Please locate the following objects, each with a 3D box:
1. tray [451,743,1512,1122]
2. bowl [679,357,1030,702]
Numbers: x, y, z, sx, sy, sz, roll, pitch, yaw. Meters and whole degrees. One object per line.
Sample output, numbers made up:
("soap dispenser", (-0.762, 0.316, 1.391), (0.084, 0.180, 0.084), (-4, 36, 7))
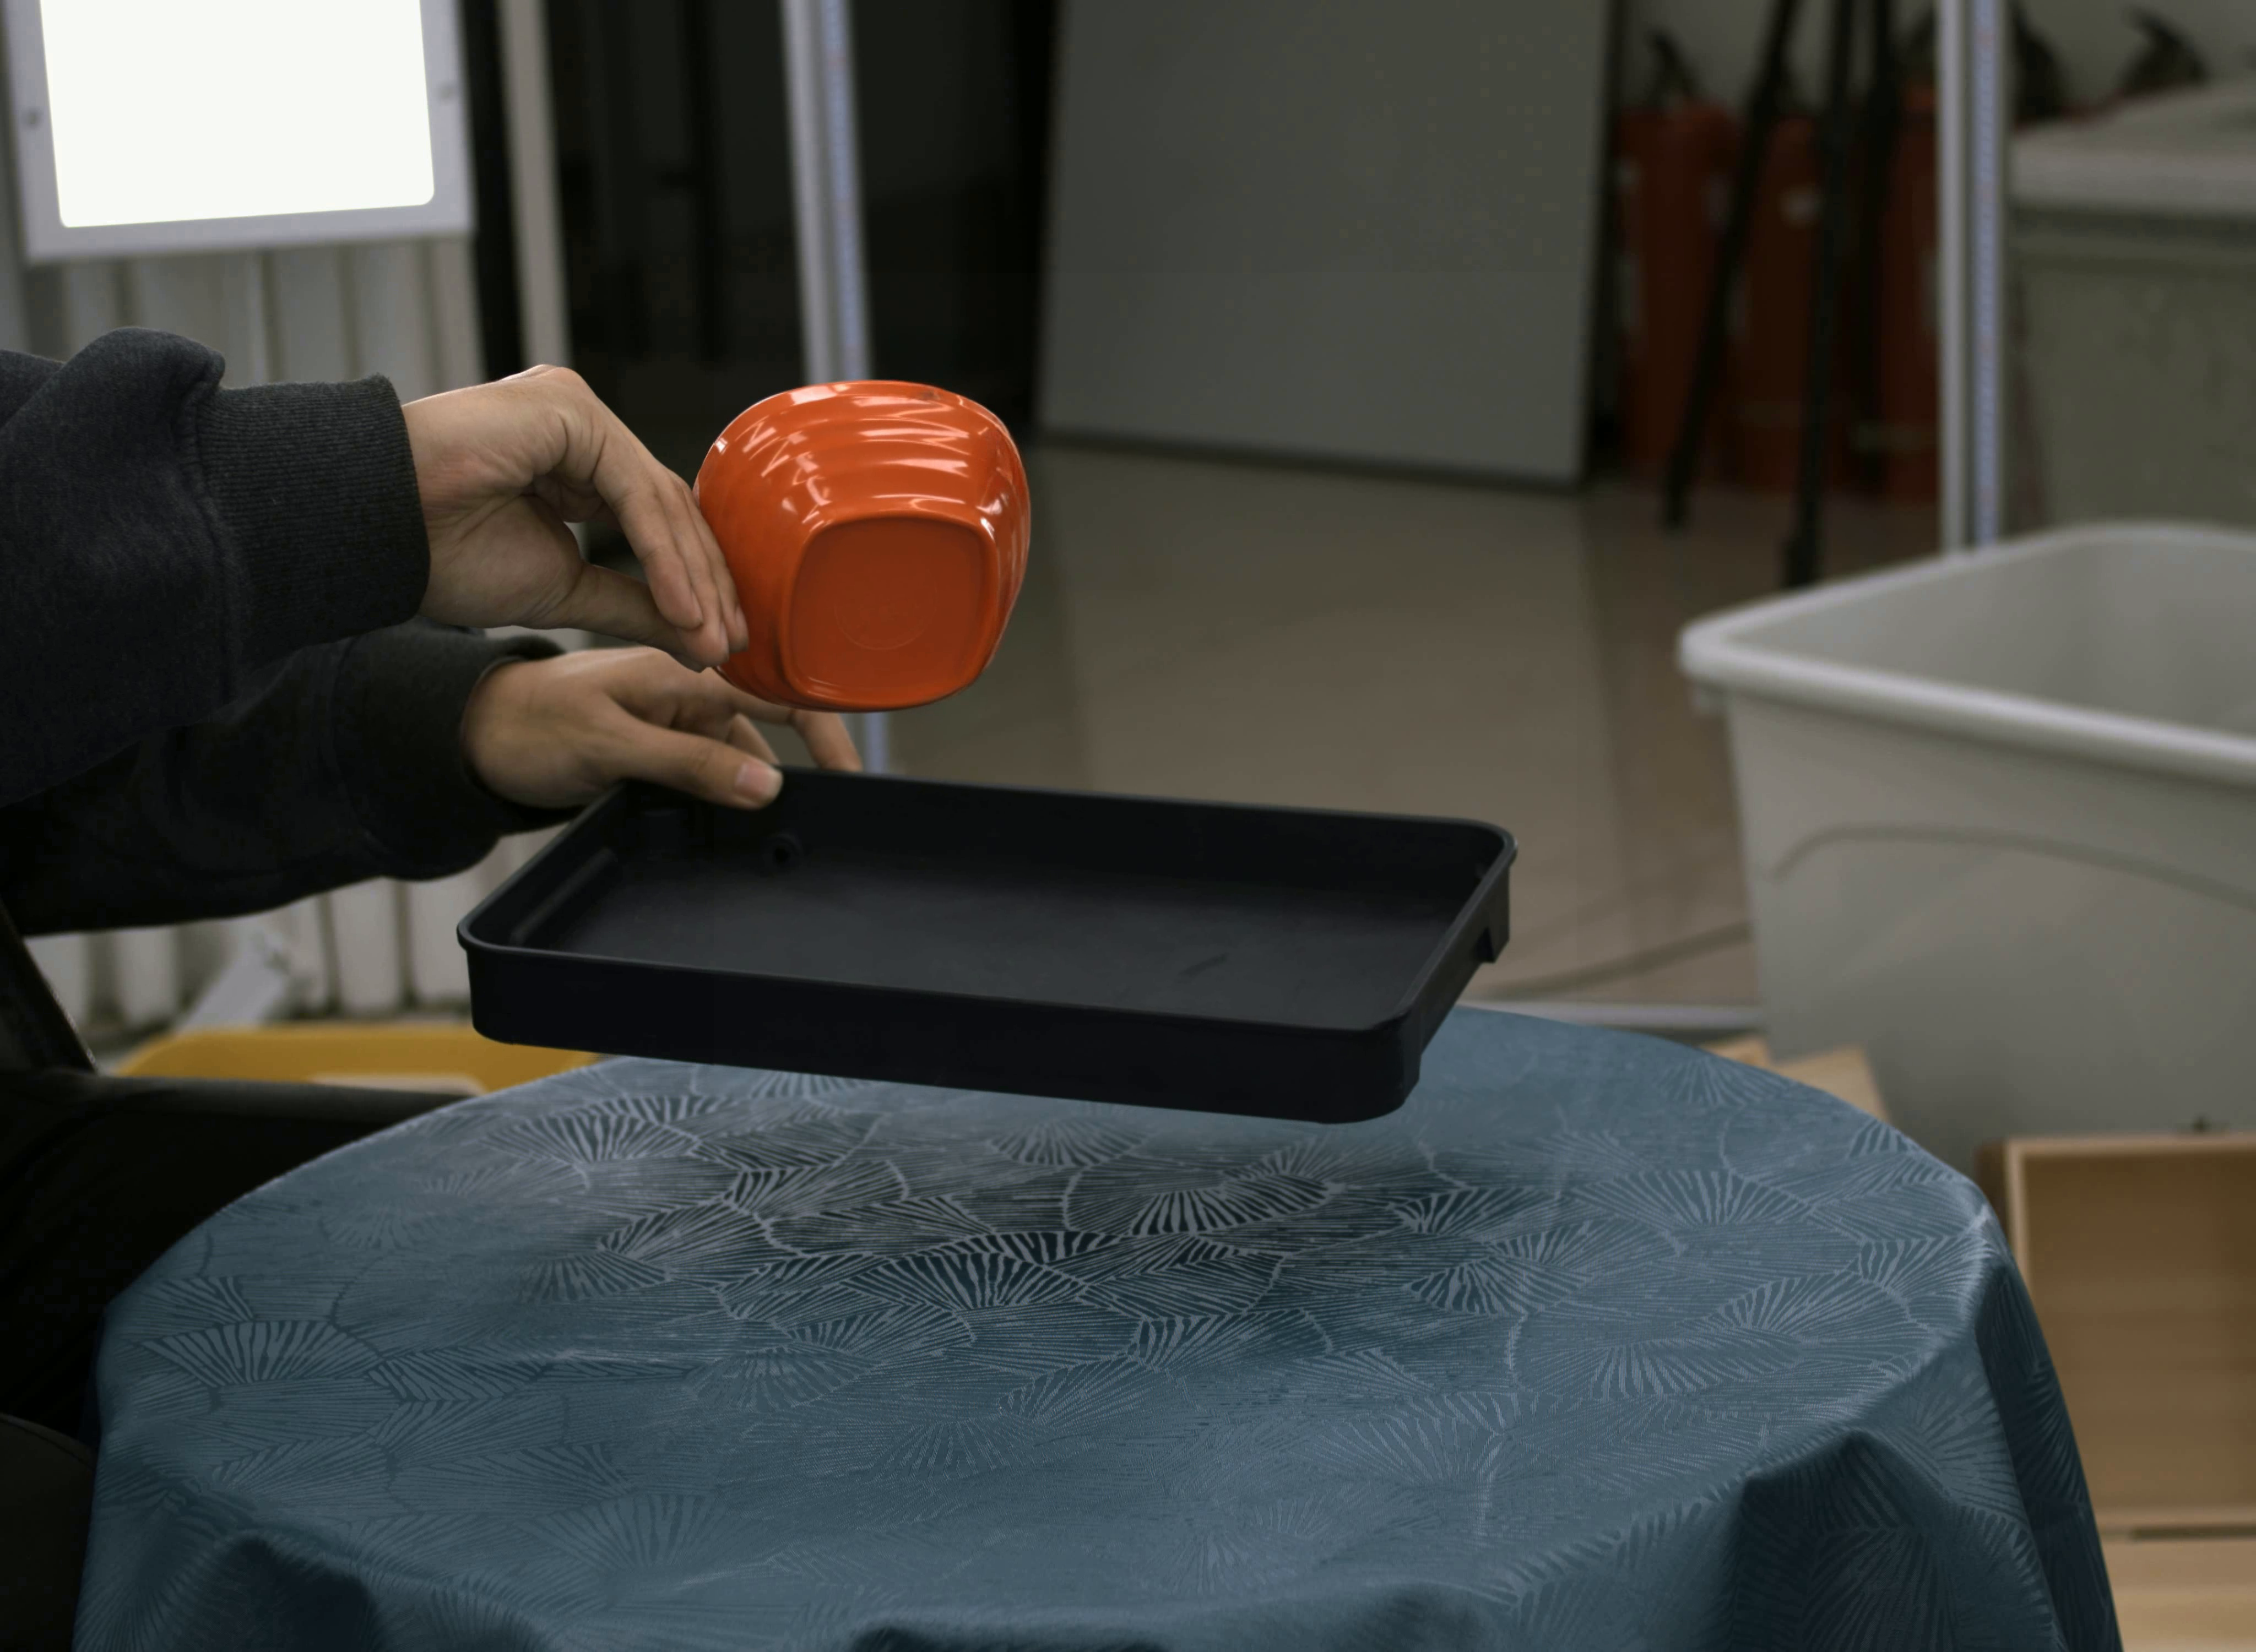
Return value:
("tray", (-0.045, 0.031, 1.748), (0.317, 0.037, 0.183), (5, 21, 18))
("bowl", (-0.078, -0.081, 1.641), (0.117, 0.120, 0.052), (-6, 30, -12))
